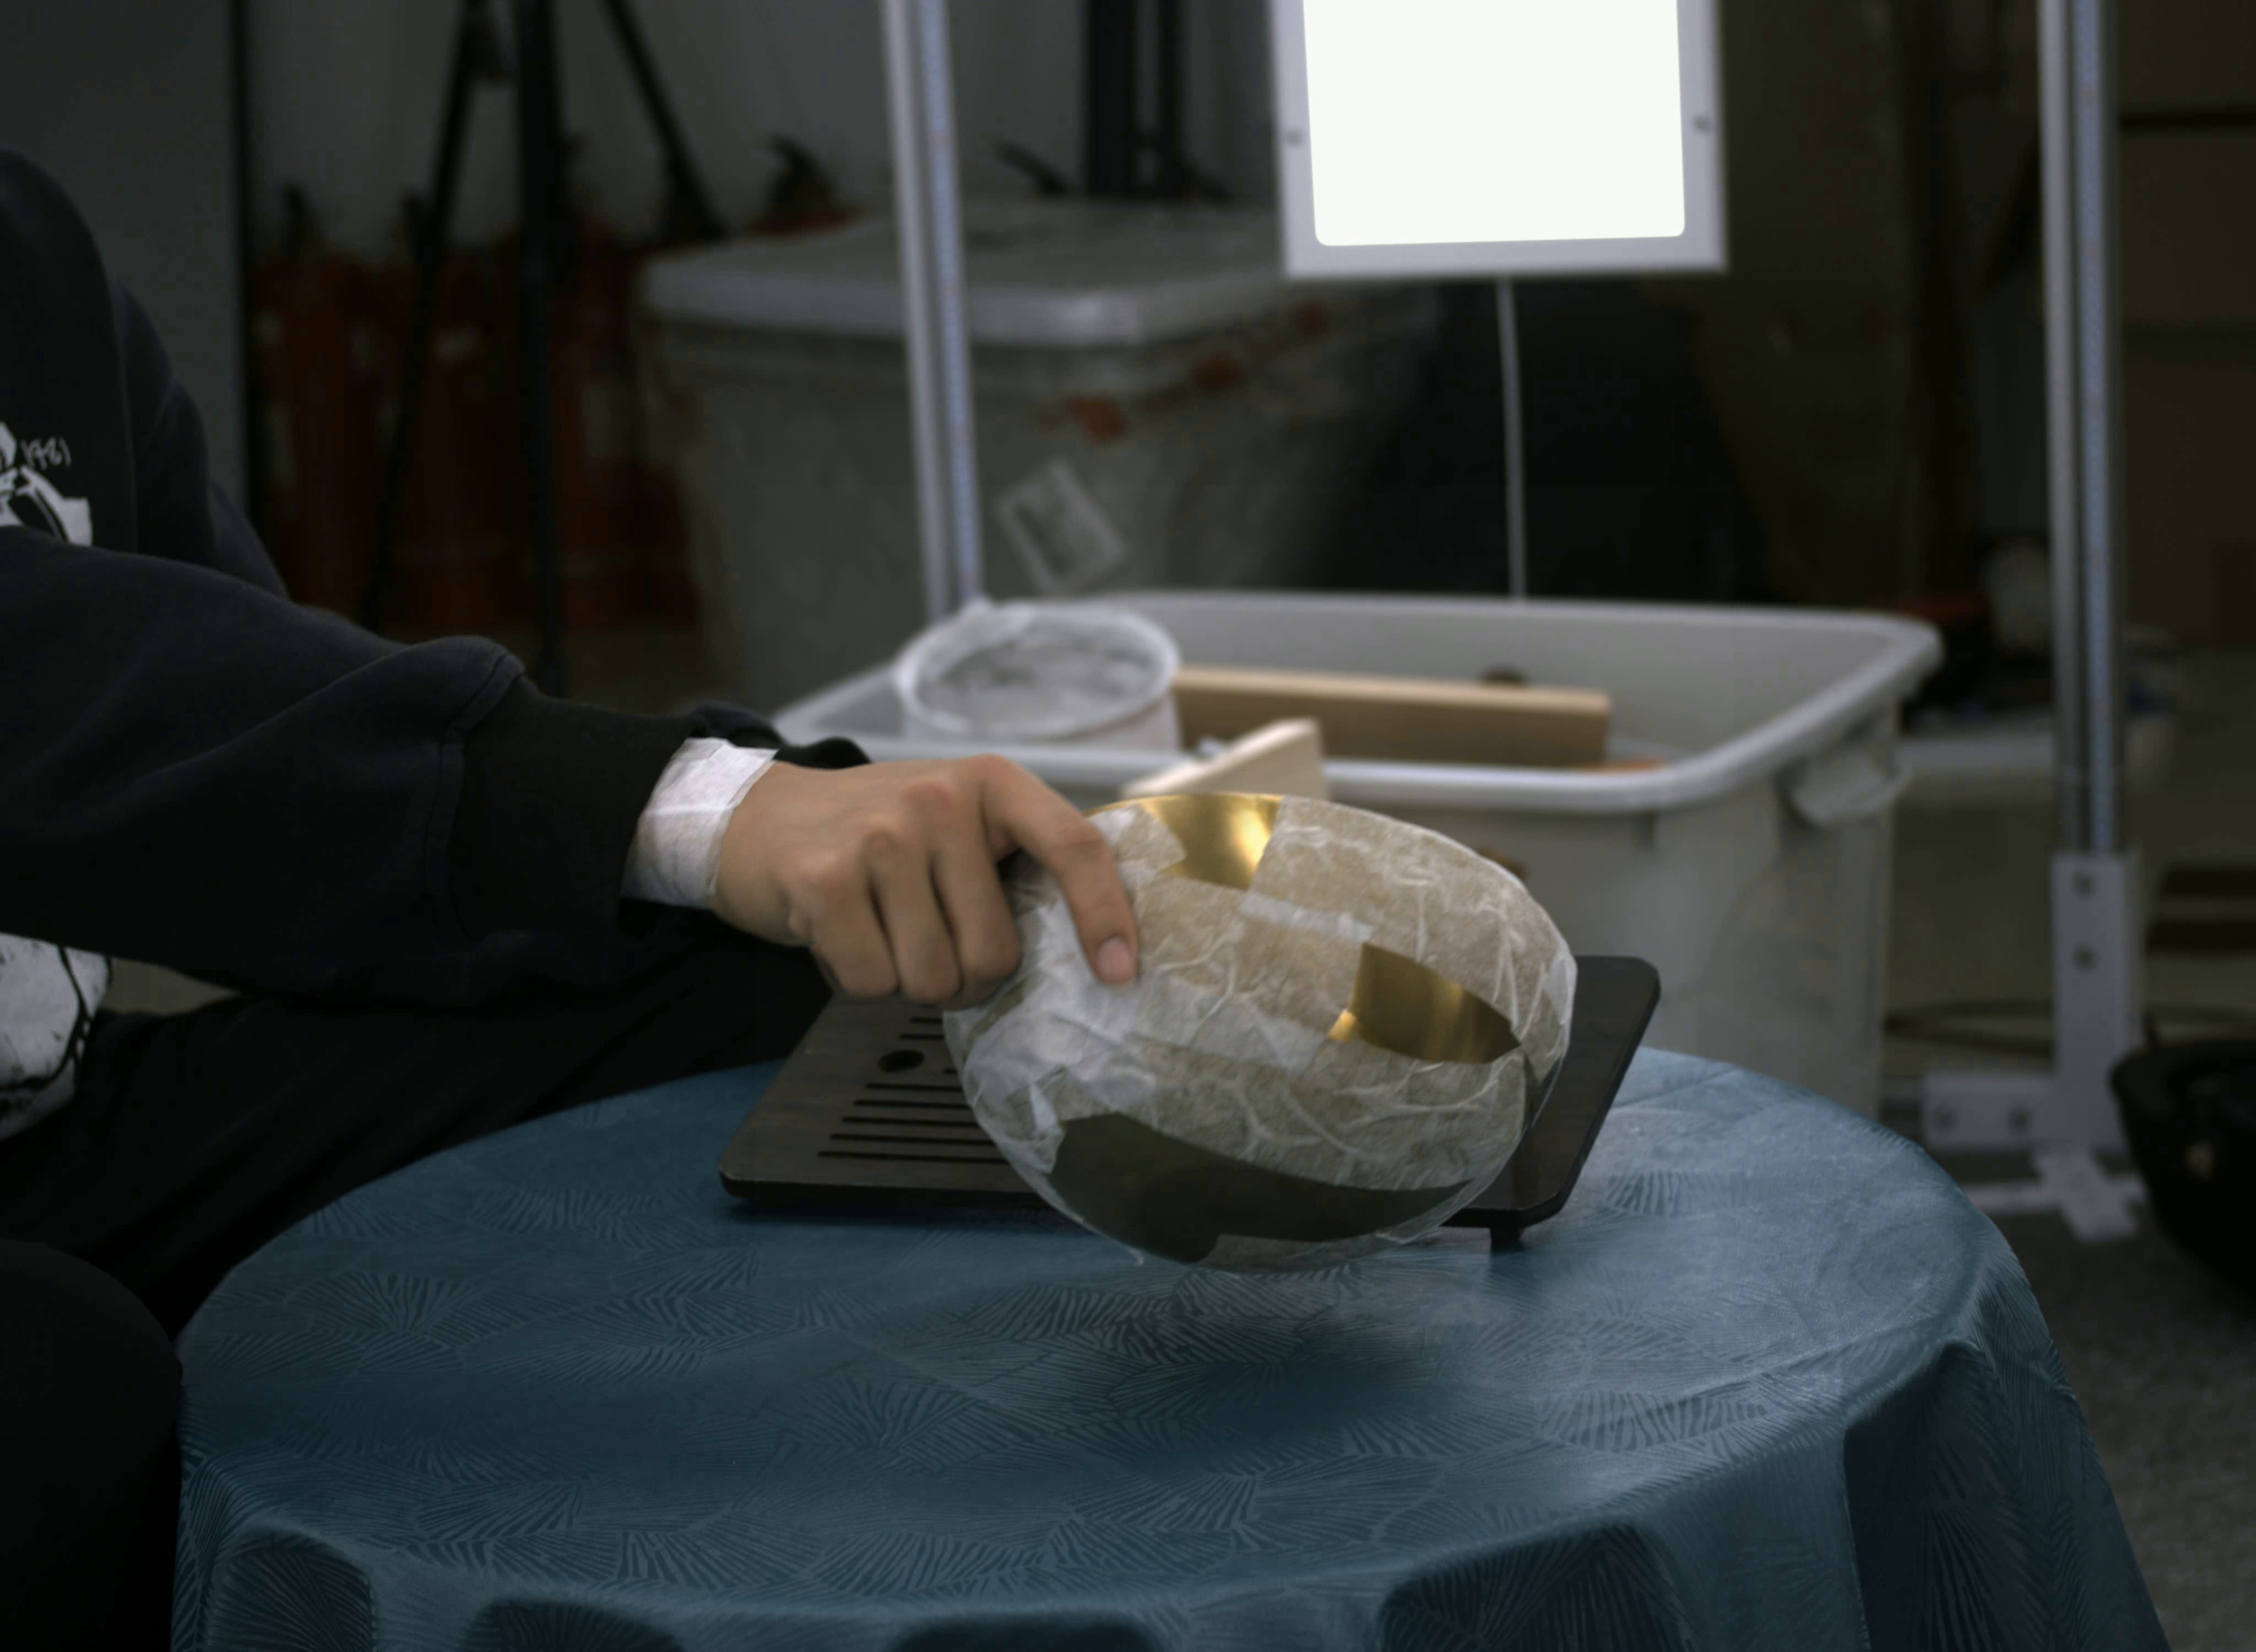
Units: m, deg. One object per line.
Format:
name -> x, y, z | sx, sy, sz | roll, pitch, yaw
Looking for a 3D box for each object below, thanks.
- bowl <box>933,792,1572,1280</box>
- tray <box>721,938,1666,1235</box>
bowl -> 0.034, 0.084, 1.715 | 0.216, 0.214, 0.094 | -1, 57, 12
tray -> 0.024, 0.090, 1.924 | 0.310, 0.018, 0.167 | 1, 28, 22
